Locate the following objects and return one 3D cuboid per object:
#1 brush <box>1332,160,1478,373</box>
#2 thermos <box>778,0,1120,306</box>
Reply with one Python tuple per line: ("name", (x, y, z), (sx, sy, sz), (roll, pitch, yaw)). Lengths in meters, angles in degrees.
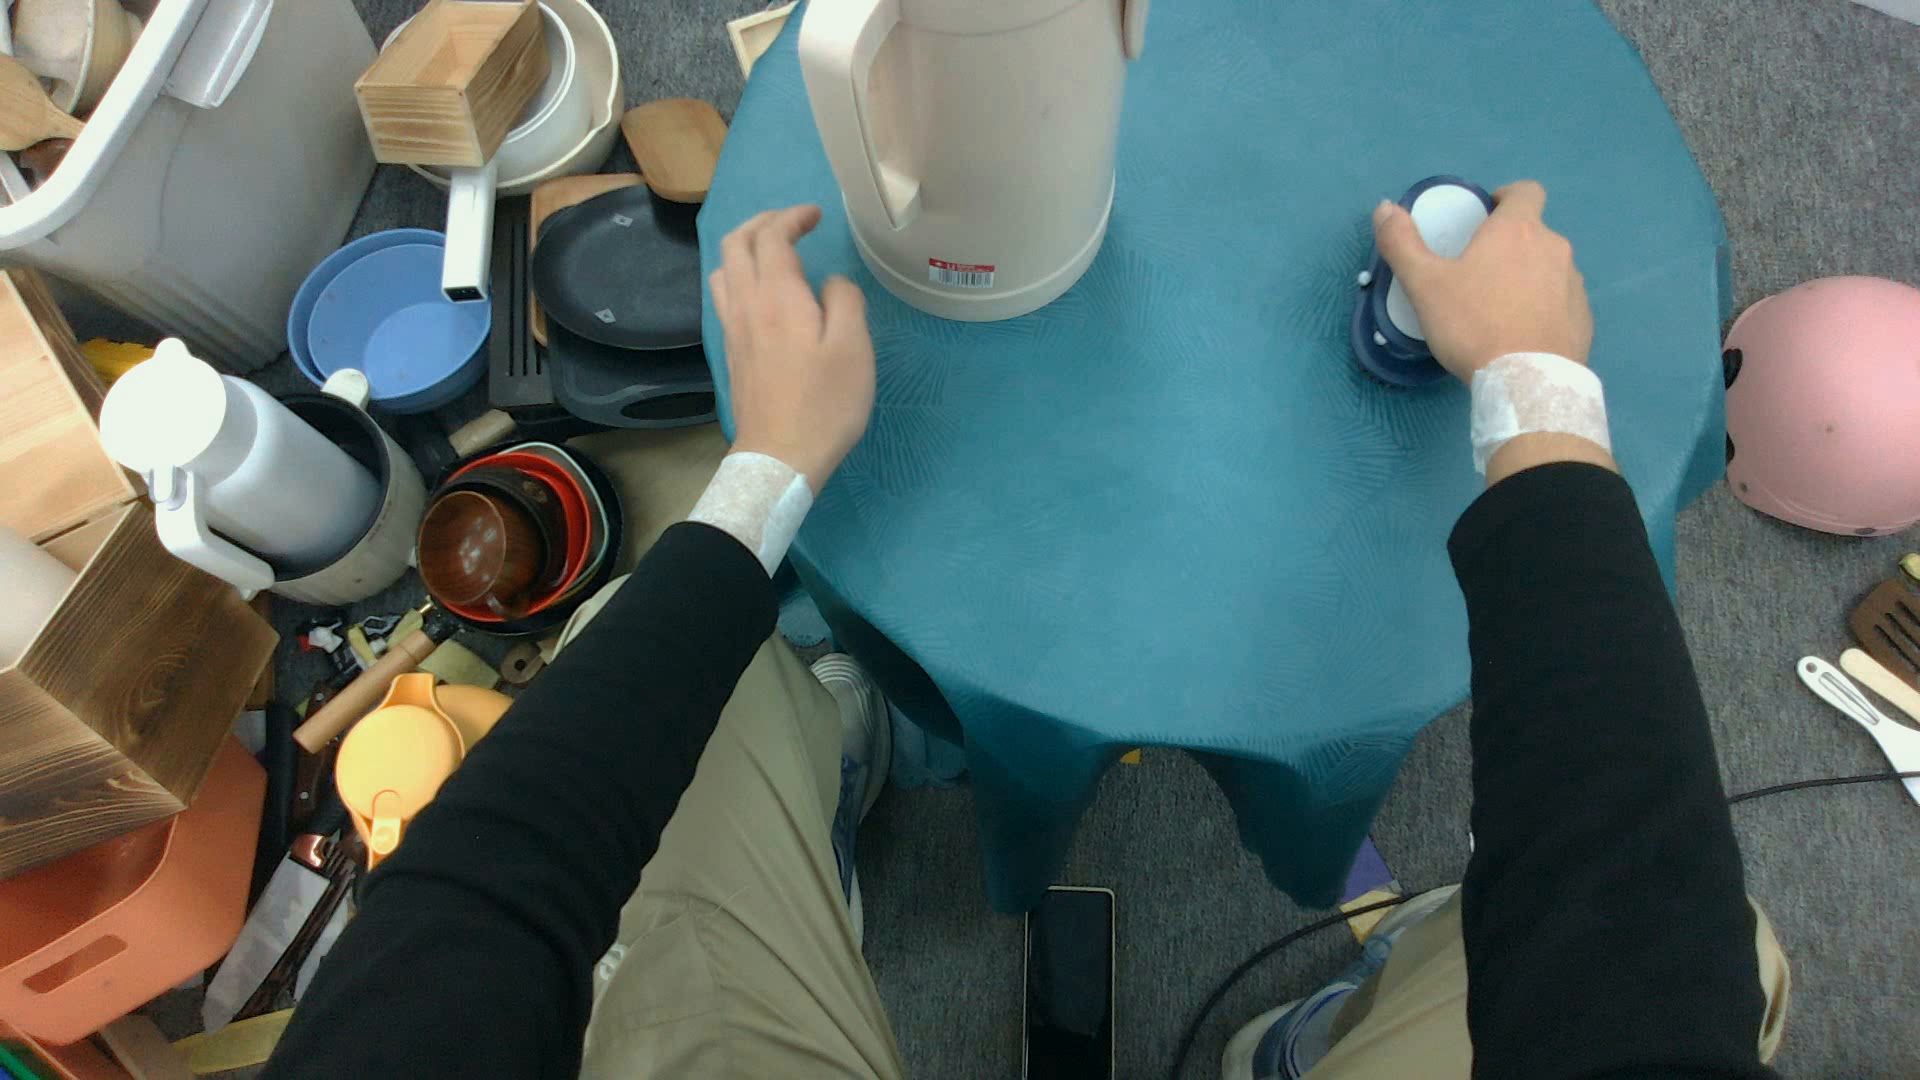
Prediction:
("brush", (0.251, -0.153, 0.781), (0.068, 0.061, 0.122), (19, 74, 7))
("thermos", (-0.014, -0.255, 0.636), (0.175, 0.405, 0.207), (27, 75, 7))
